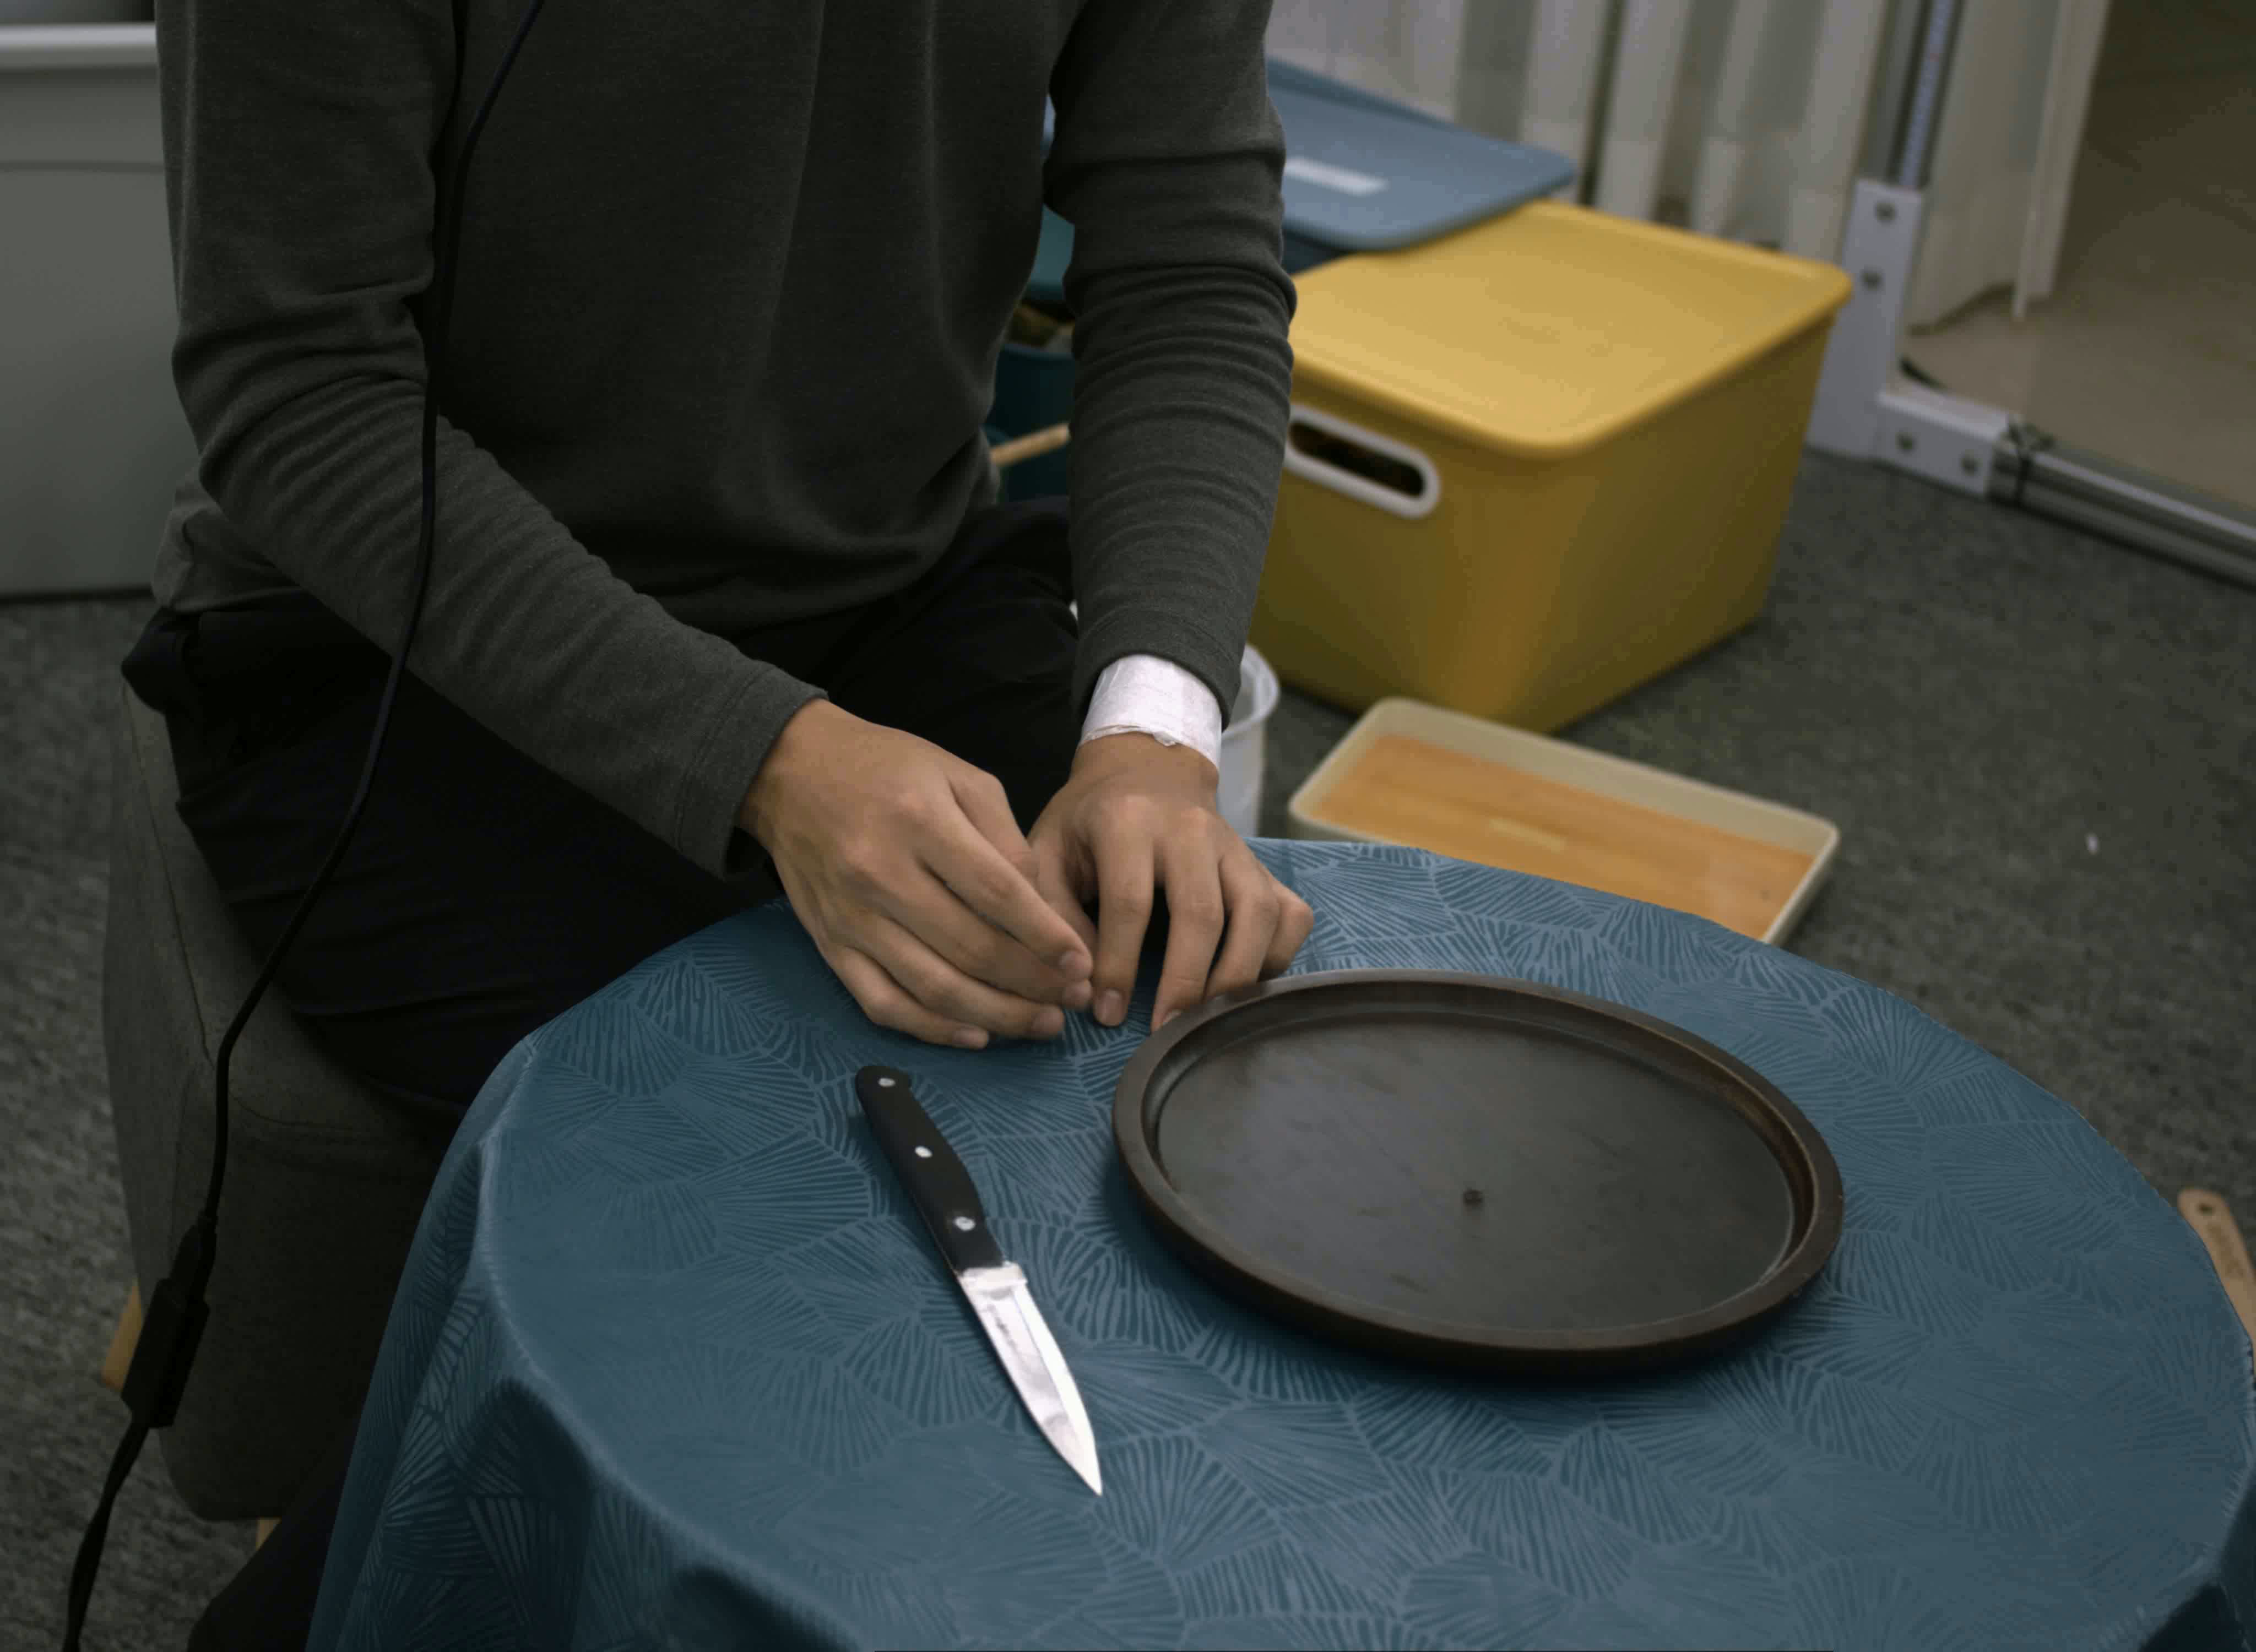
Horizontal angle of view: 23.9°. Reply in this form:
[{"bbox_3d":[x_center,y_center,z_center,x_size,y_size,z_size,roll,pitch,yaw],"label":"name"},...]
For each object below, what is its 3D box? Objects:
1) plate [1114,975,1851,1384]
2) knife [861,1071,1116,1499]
[{"bbox_3d":[0.120,0.118,1.818,0.254,0.029,0.256,6,27,-3],"label":"plate"},{"bbox_3d":[-0.047,0.148,1.735,0.024,0.016,0.240,-1,30,-22],"label":"knife"}]
